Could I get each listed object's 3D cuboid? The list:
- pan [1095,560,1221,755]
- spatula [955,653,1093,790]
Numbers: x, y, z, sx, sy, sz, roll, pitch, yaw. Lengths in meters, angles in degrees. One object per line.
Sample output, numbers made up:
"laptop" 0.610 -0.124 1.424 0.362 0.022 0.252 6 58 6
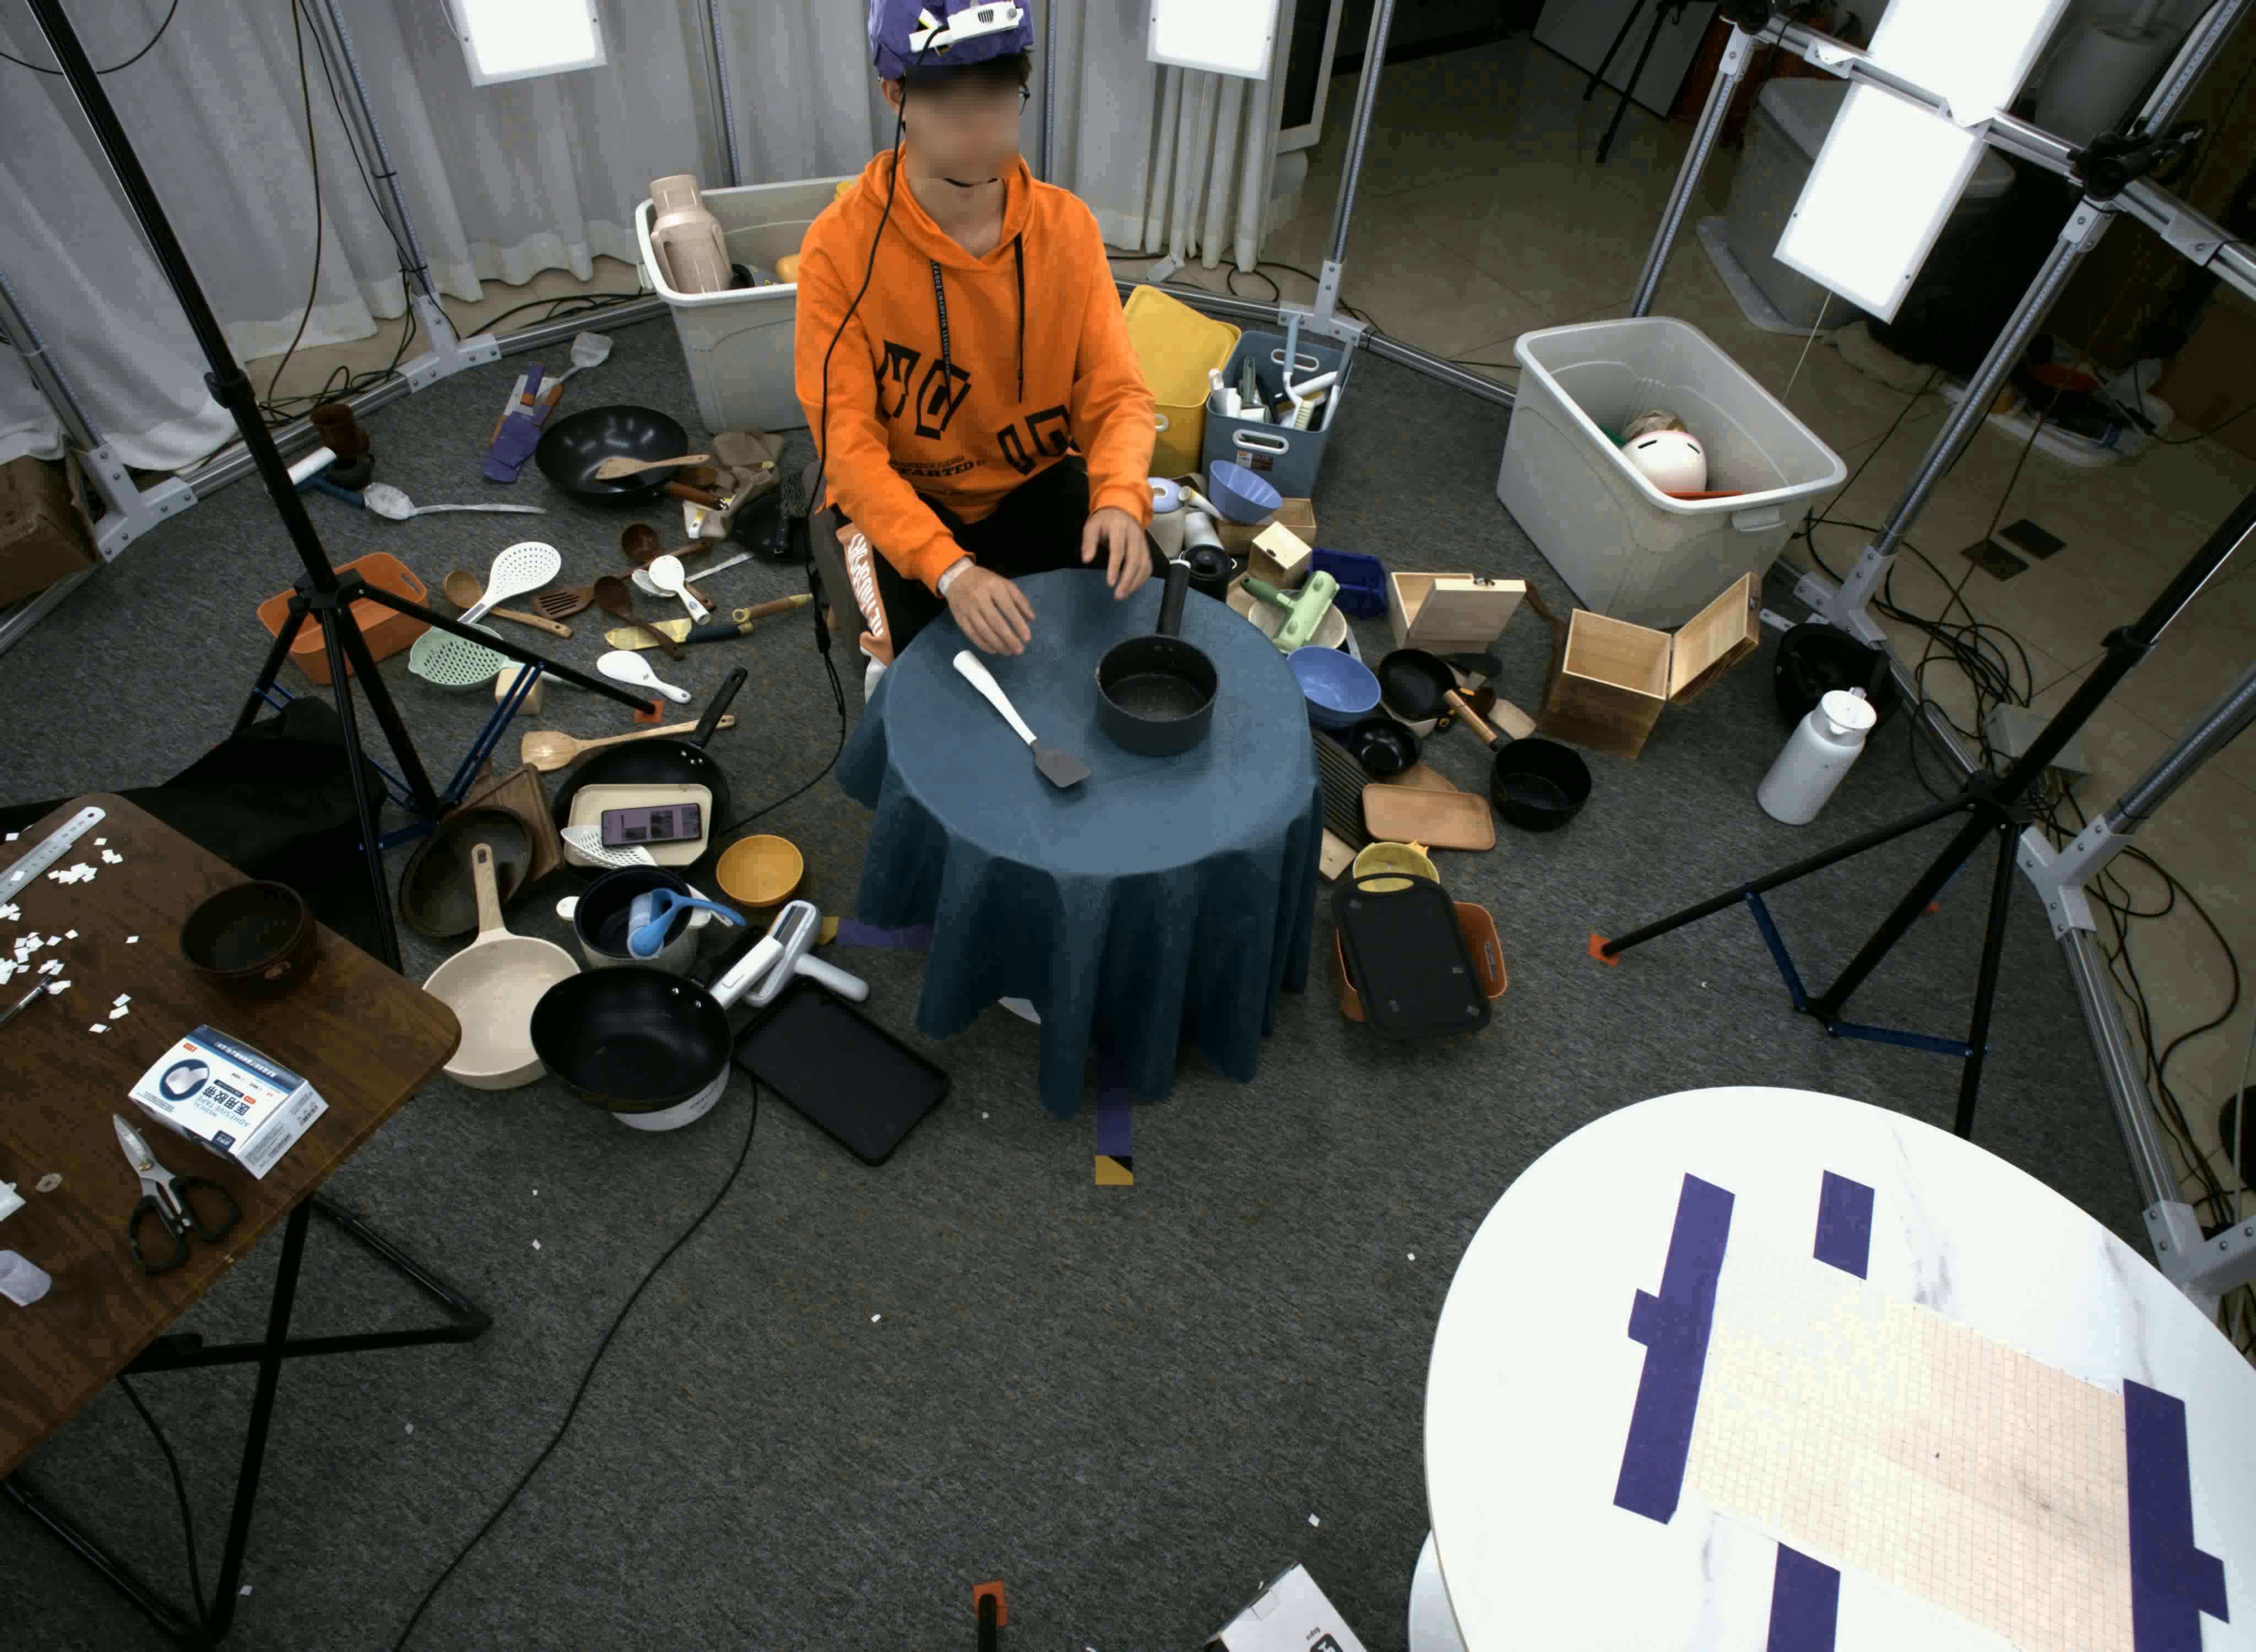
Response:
"pan" 0.054 -0.243 1.829 0.172 0.084 0.336 11 51 4
"spatula" -0.149 -0.143 1.762 0.059 0.031 0.293 -24 54 -27
